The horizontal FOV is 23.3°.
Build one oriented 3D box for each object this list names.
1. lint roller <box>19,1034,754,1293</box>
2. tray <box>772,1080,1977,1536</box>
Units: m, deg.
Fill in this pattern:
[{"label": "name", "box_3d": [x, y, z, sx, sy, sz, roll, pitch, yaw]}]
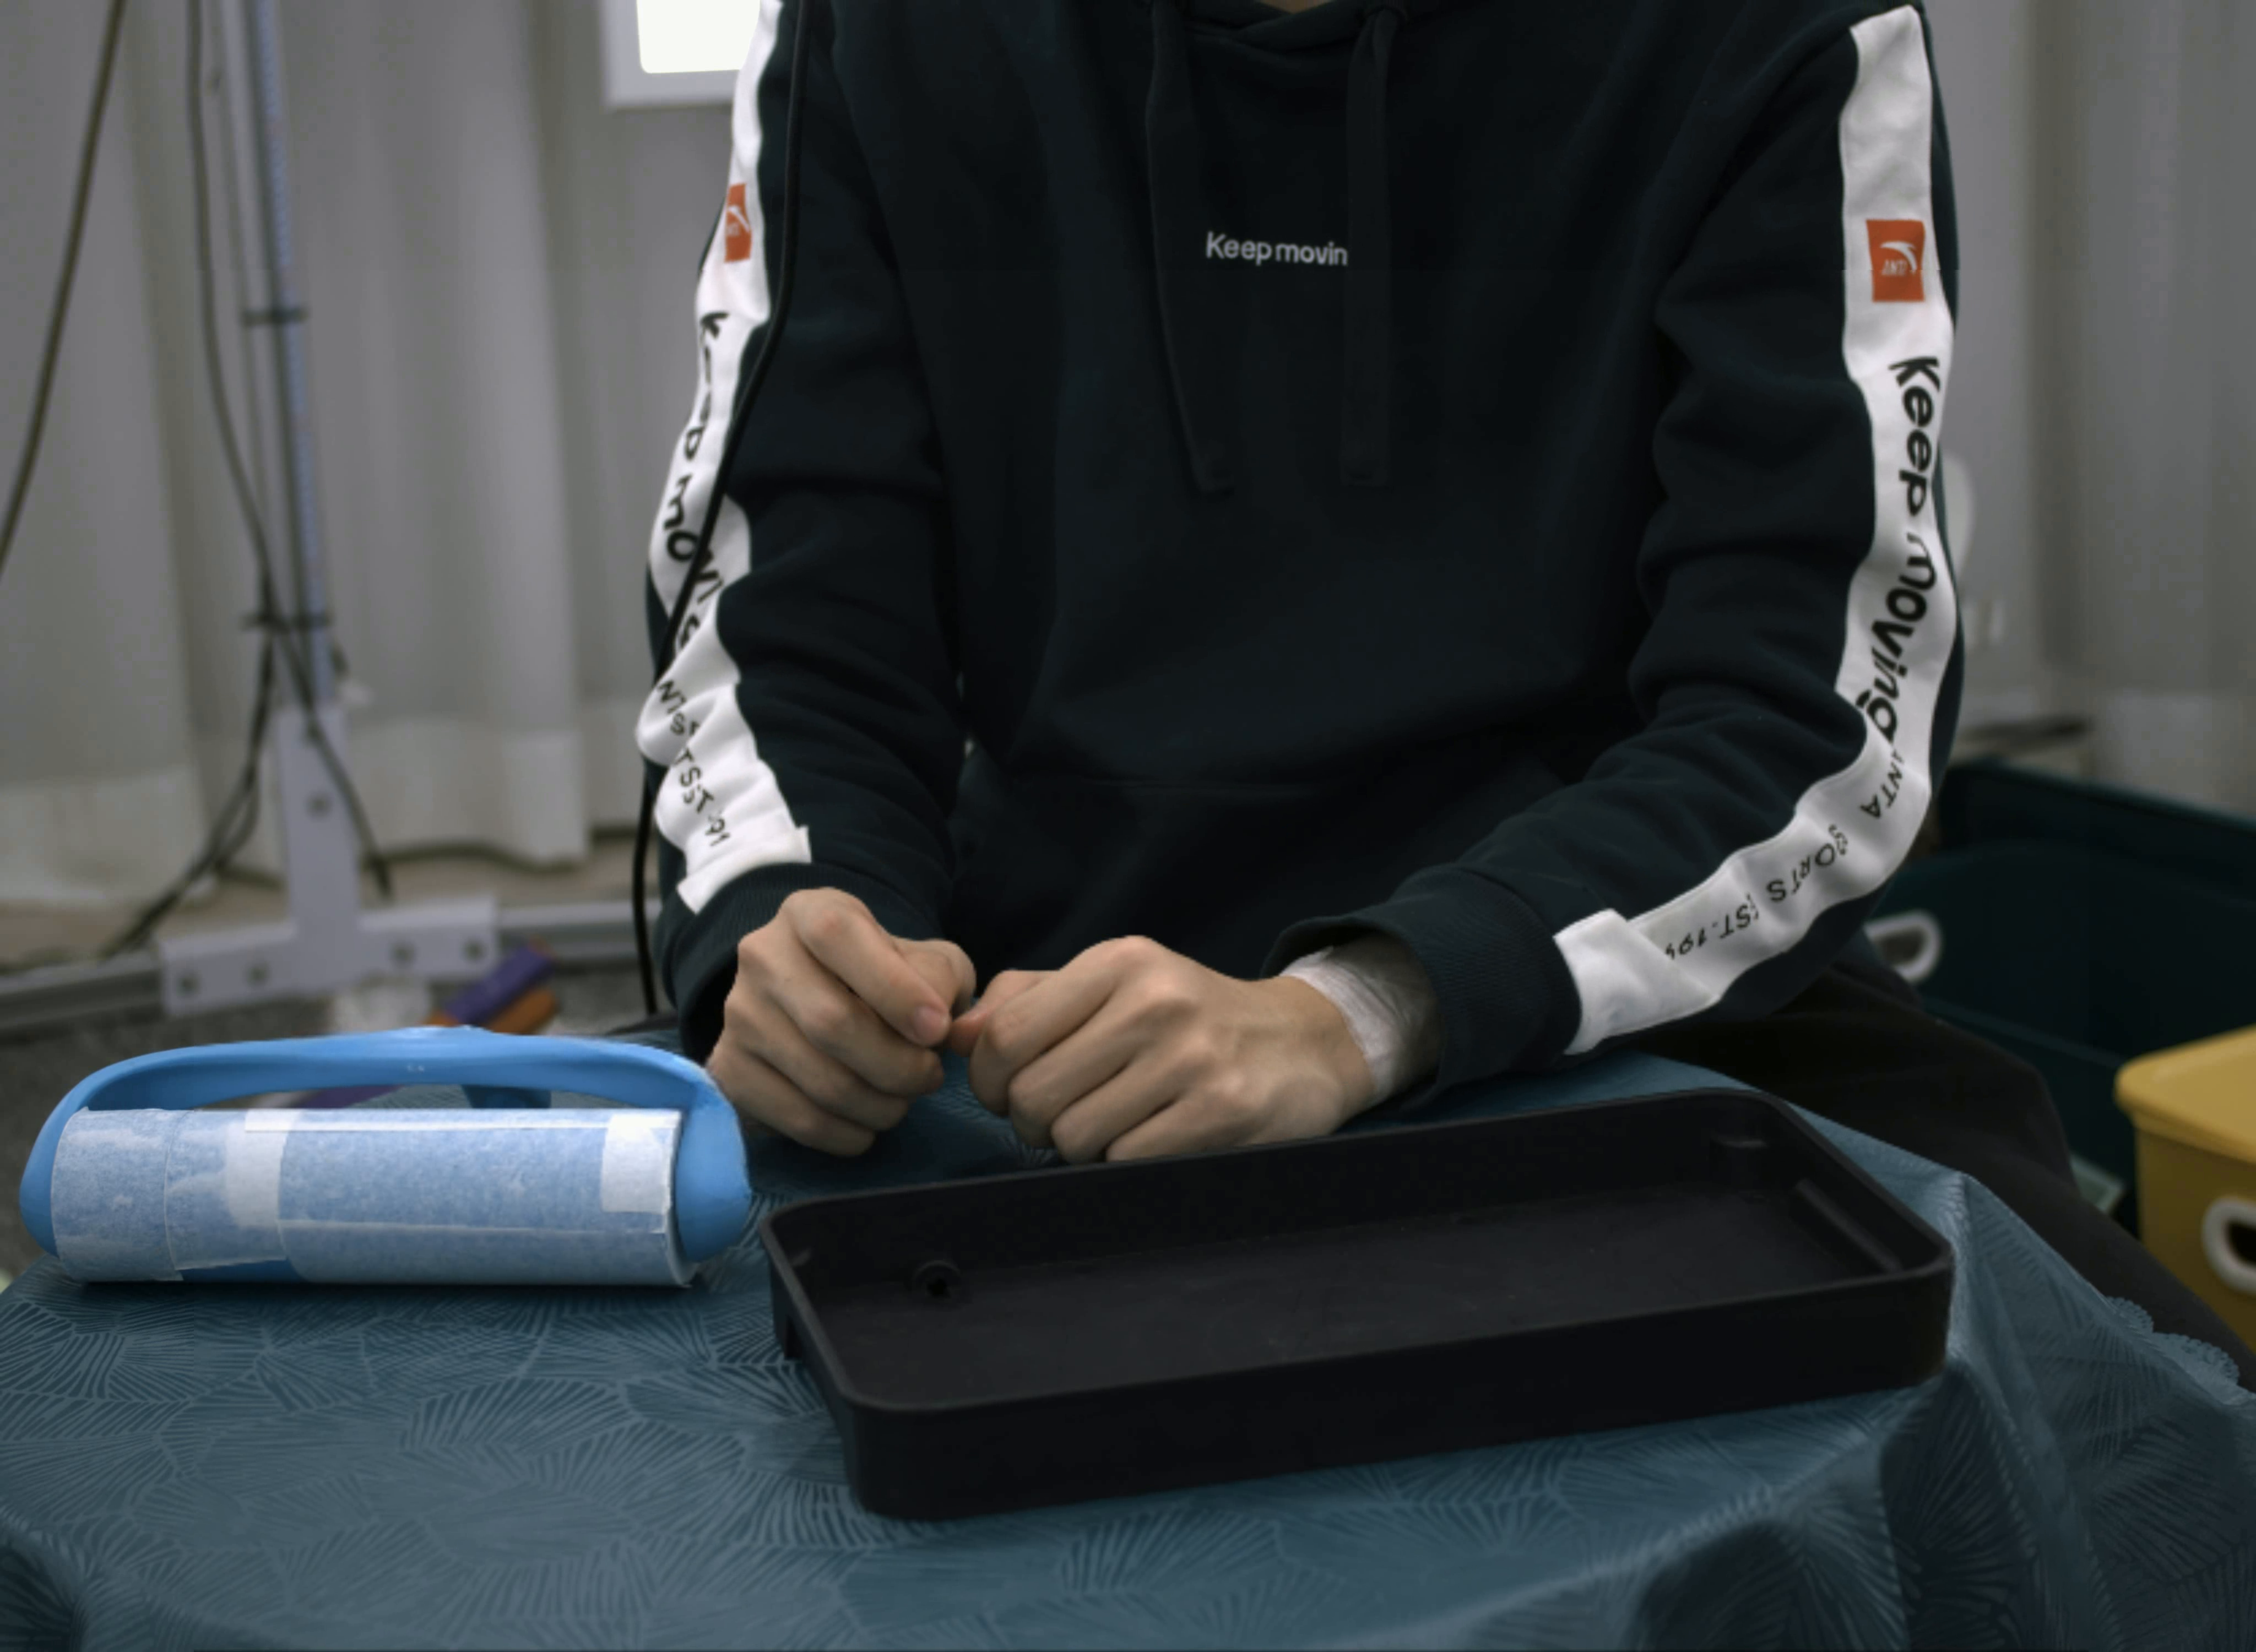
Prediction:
[{"label": "lint roller", "box_3d": [-0.219, 0.096, 1.719, 0.228, 0.067, 0.181, -3, 16, 8]}, {"label": "tray", "box_3d": [0.067, 0.134, 1.564, 0.316, 0.037, 0.186, -8, 15, -13]}]
